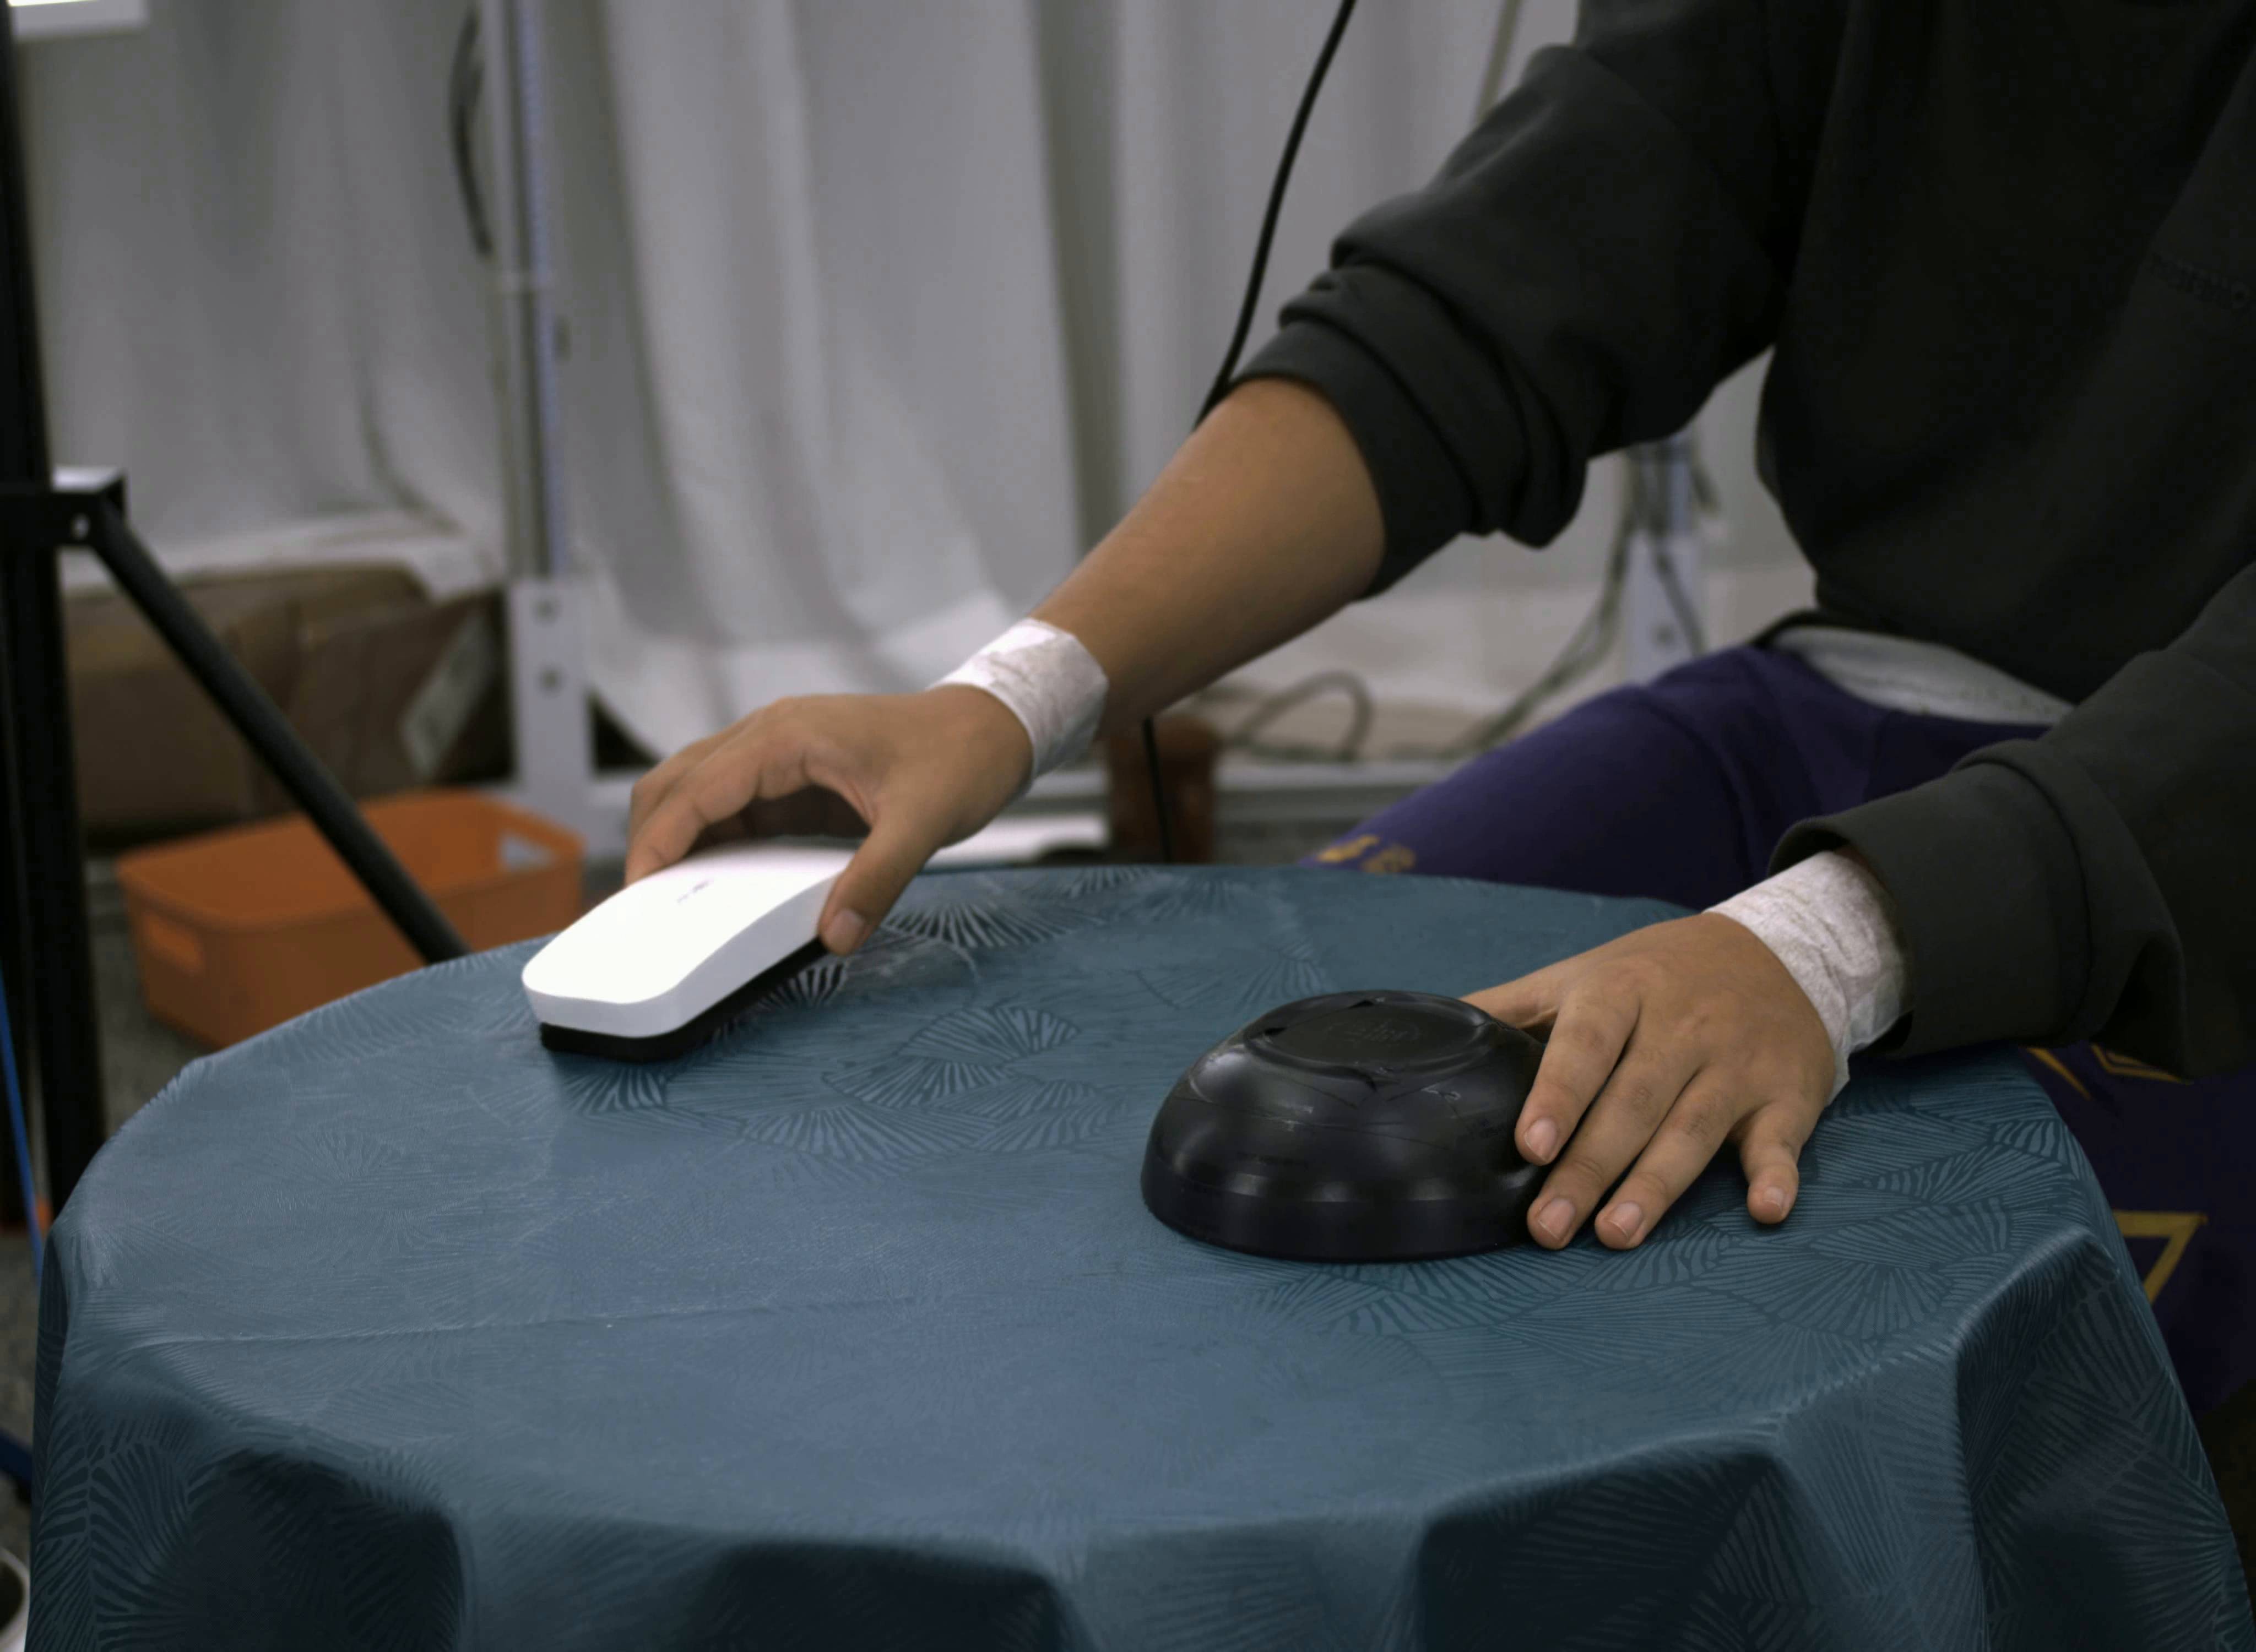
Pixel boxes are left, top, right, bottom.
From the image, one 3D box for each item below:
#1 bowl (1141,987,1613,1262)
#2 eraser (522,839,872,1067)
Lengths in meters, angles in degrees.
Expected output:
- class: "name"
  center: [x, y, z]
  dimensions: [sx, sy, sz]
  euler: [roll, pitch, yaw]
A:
- class: "bowl"
  center: [0.072, 0.081, 1.550]
  dimensions: [0.139, 0.050, 0.141]
  euler: [-4, 16, 0]
- class: "eraser"
  center: [-0.138, 0.038, 1.749]
  dimensions: [0.064, 0.034, 0.129]
  euler: [8, 27, 35]
